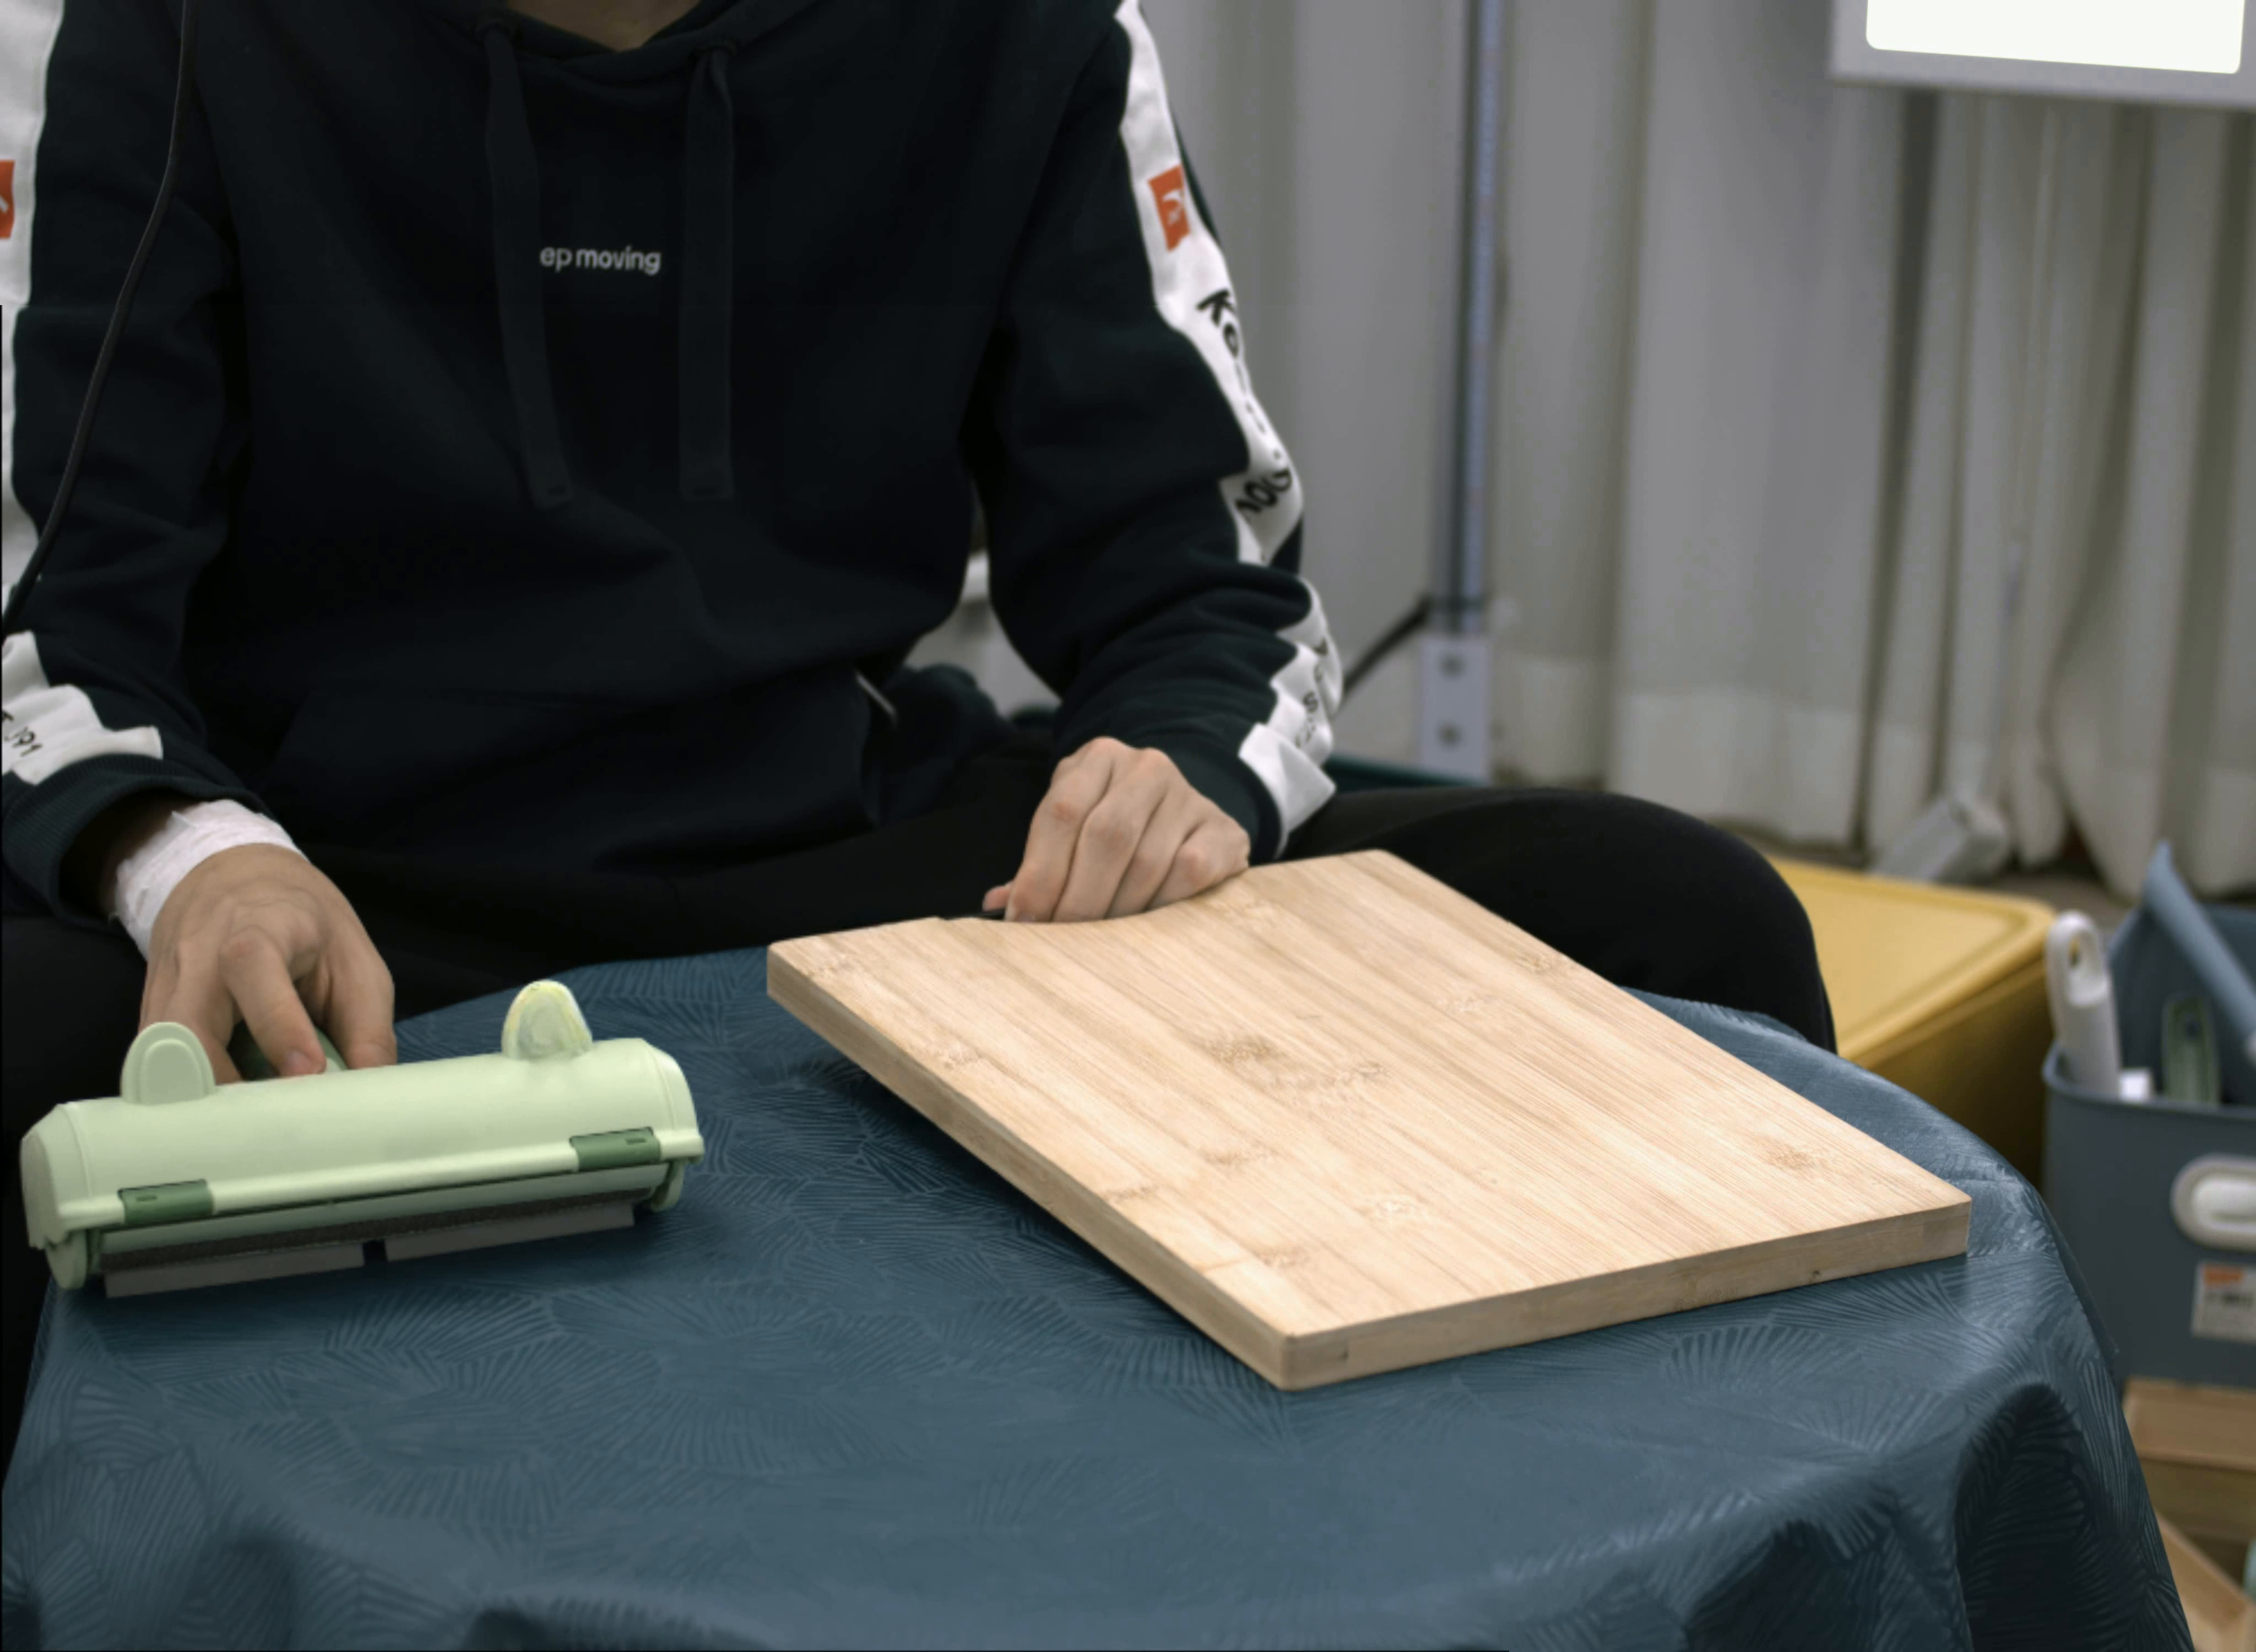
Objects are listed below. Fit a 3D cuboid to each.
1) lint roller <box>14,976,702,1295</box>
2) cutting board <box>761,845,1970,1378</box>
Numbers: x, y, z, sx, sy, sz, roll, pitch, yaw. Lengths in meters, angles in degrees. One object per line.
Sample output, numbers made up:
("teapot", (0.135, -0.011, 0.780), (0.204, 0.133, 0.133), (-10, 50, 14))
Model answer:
("lint roller", (-0.248, 0.071, 1.595), (0.199, 0.083, 0.181), (-6, 26, -23))
("cutting board", (0.065, 0.082, 1.654), (0.252, 0.024, 0.344), (-8, 22, -29))
